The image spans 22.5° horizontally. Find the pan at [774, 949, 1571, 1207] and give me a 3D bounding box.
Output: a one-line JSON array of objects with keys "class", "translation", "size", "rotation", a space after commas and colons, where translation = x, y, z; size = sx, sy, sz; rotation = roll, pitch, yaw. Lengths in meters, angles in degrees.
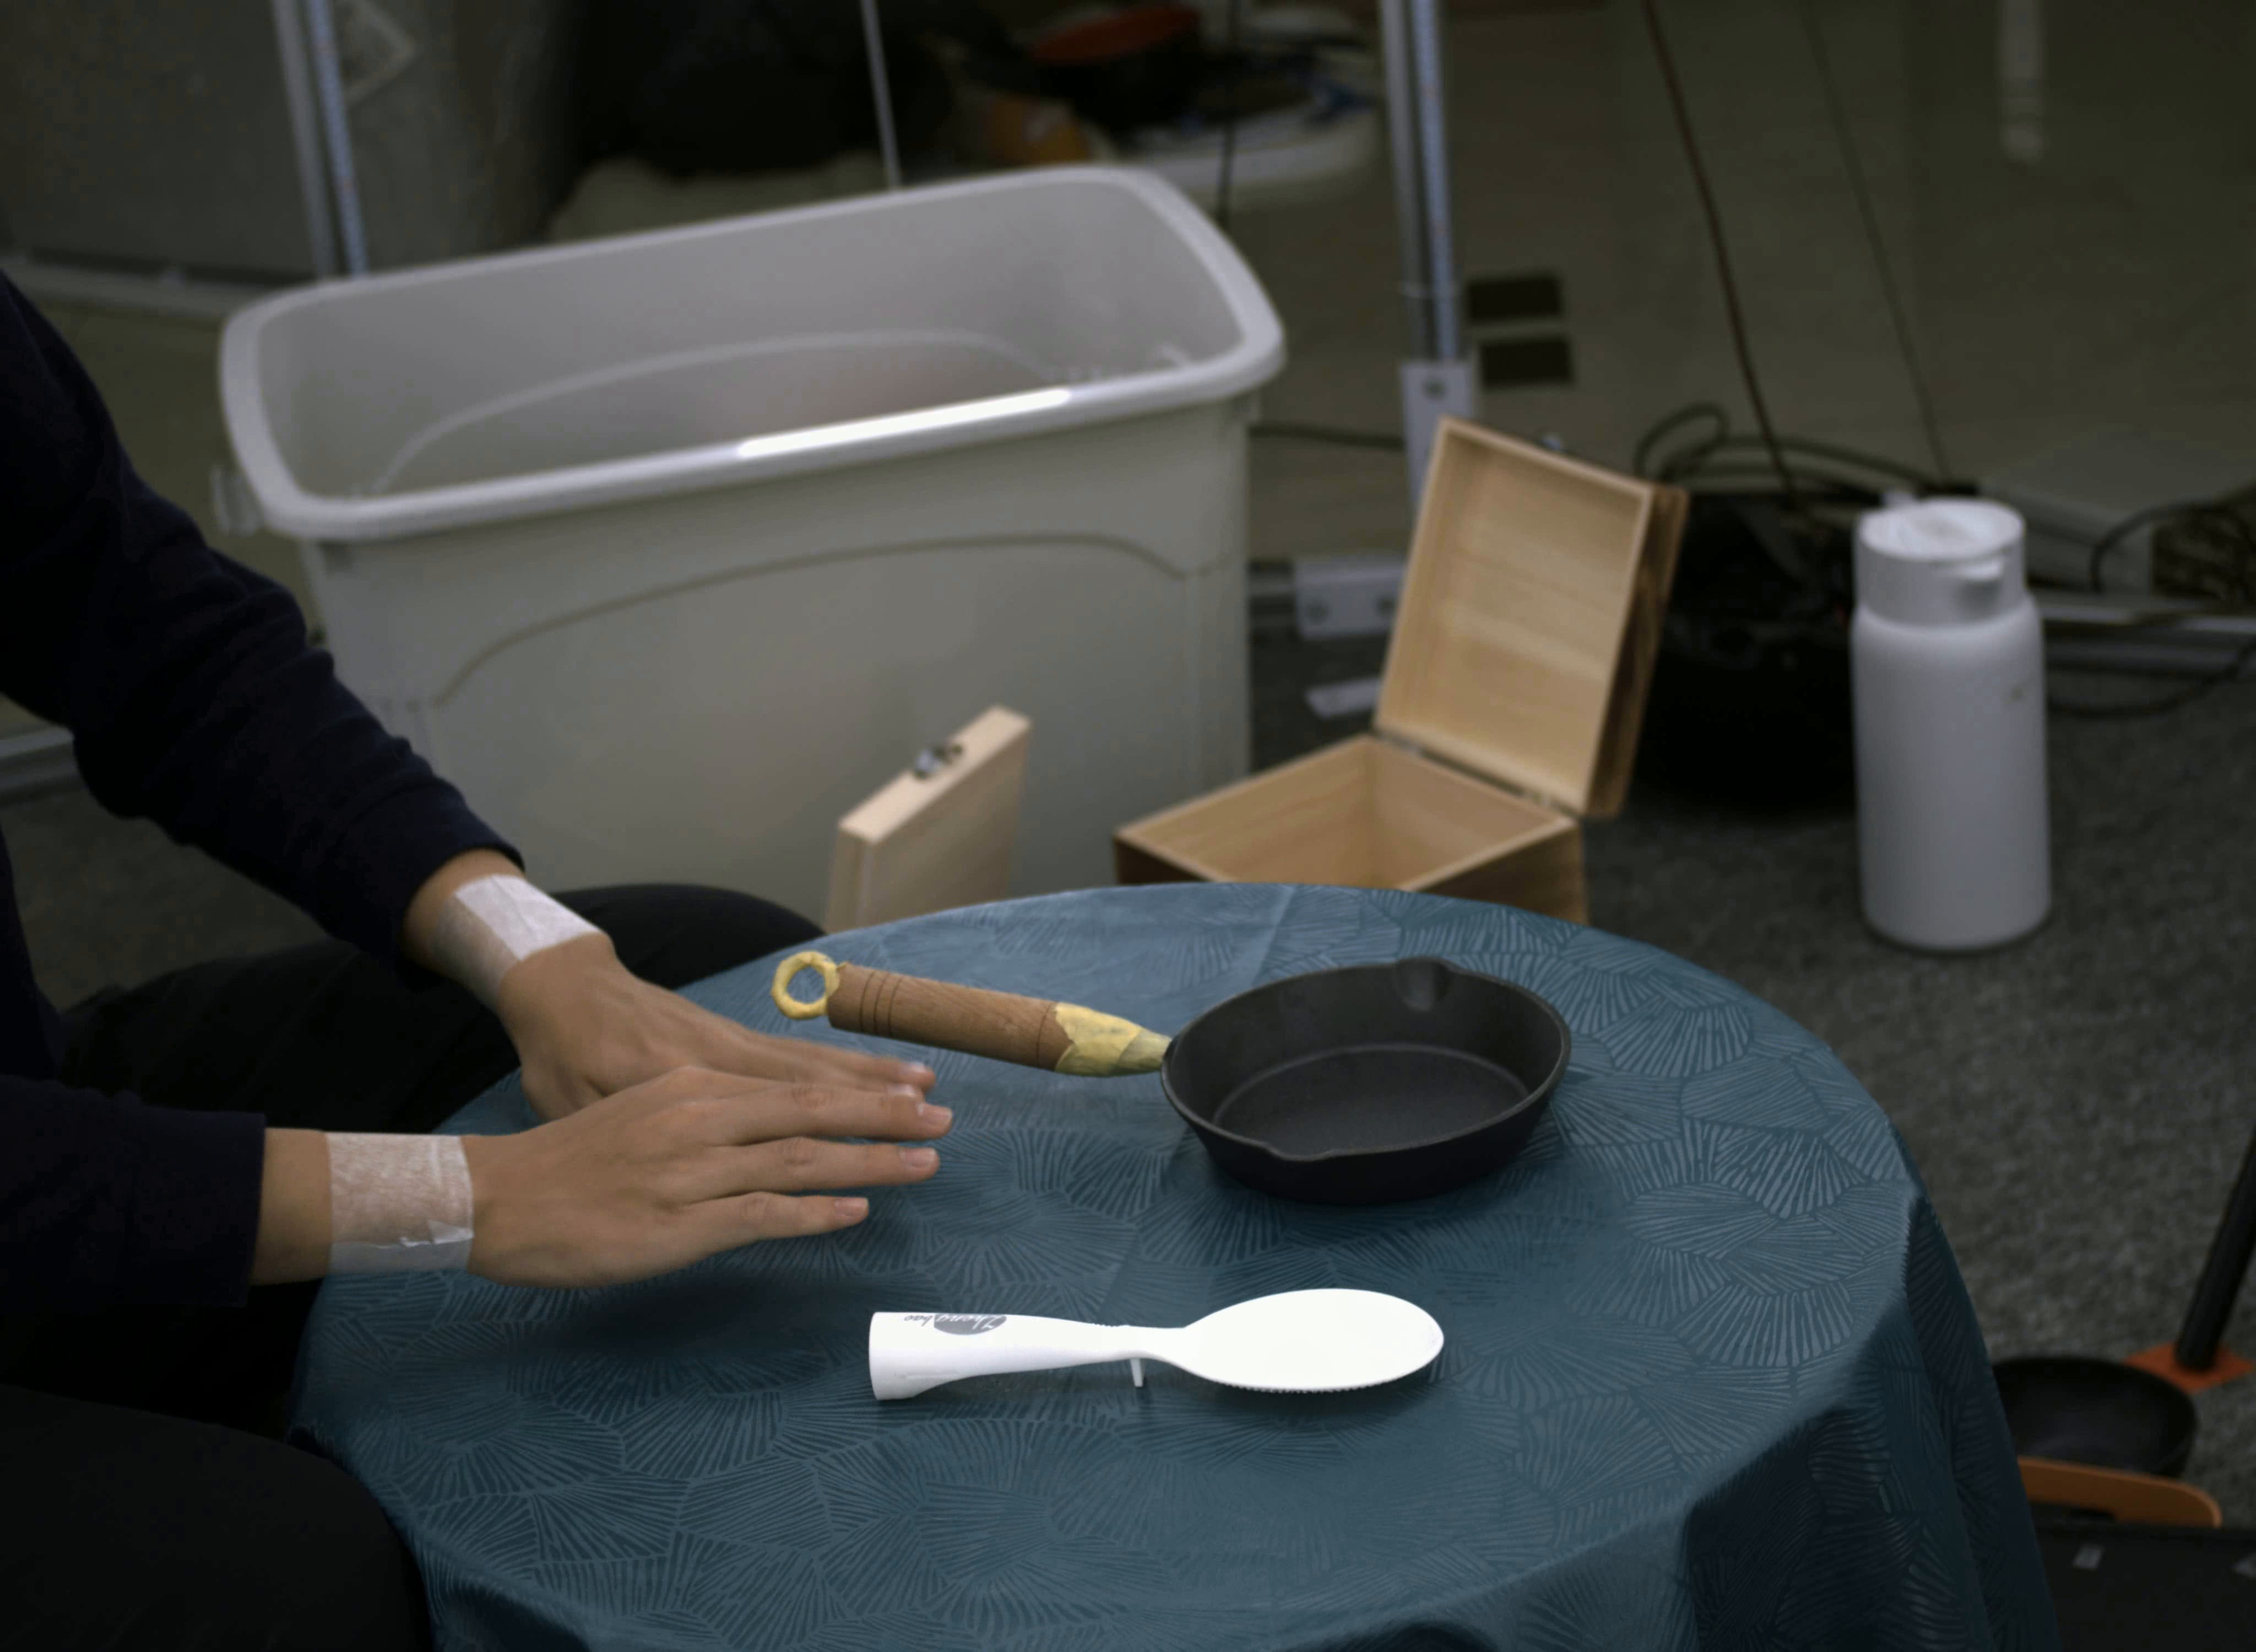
[{"class": "pan", "translation": [0.013, 0.087, 2.194], "size": [0.323, 0.050, 0.166], "rotation": [6, 28, 22]}]

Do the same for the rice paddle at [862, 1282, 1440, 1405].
[{"class": "rice paddle", "translation": [0.008, 0.184, 2.014], "size": [0.205, 0.030, 0.067], "rotation": [-4, 29, 7]}]
